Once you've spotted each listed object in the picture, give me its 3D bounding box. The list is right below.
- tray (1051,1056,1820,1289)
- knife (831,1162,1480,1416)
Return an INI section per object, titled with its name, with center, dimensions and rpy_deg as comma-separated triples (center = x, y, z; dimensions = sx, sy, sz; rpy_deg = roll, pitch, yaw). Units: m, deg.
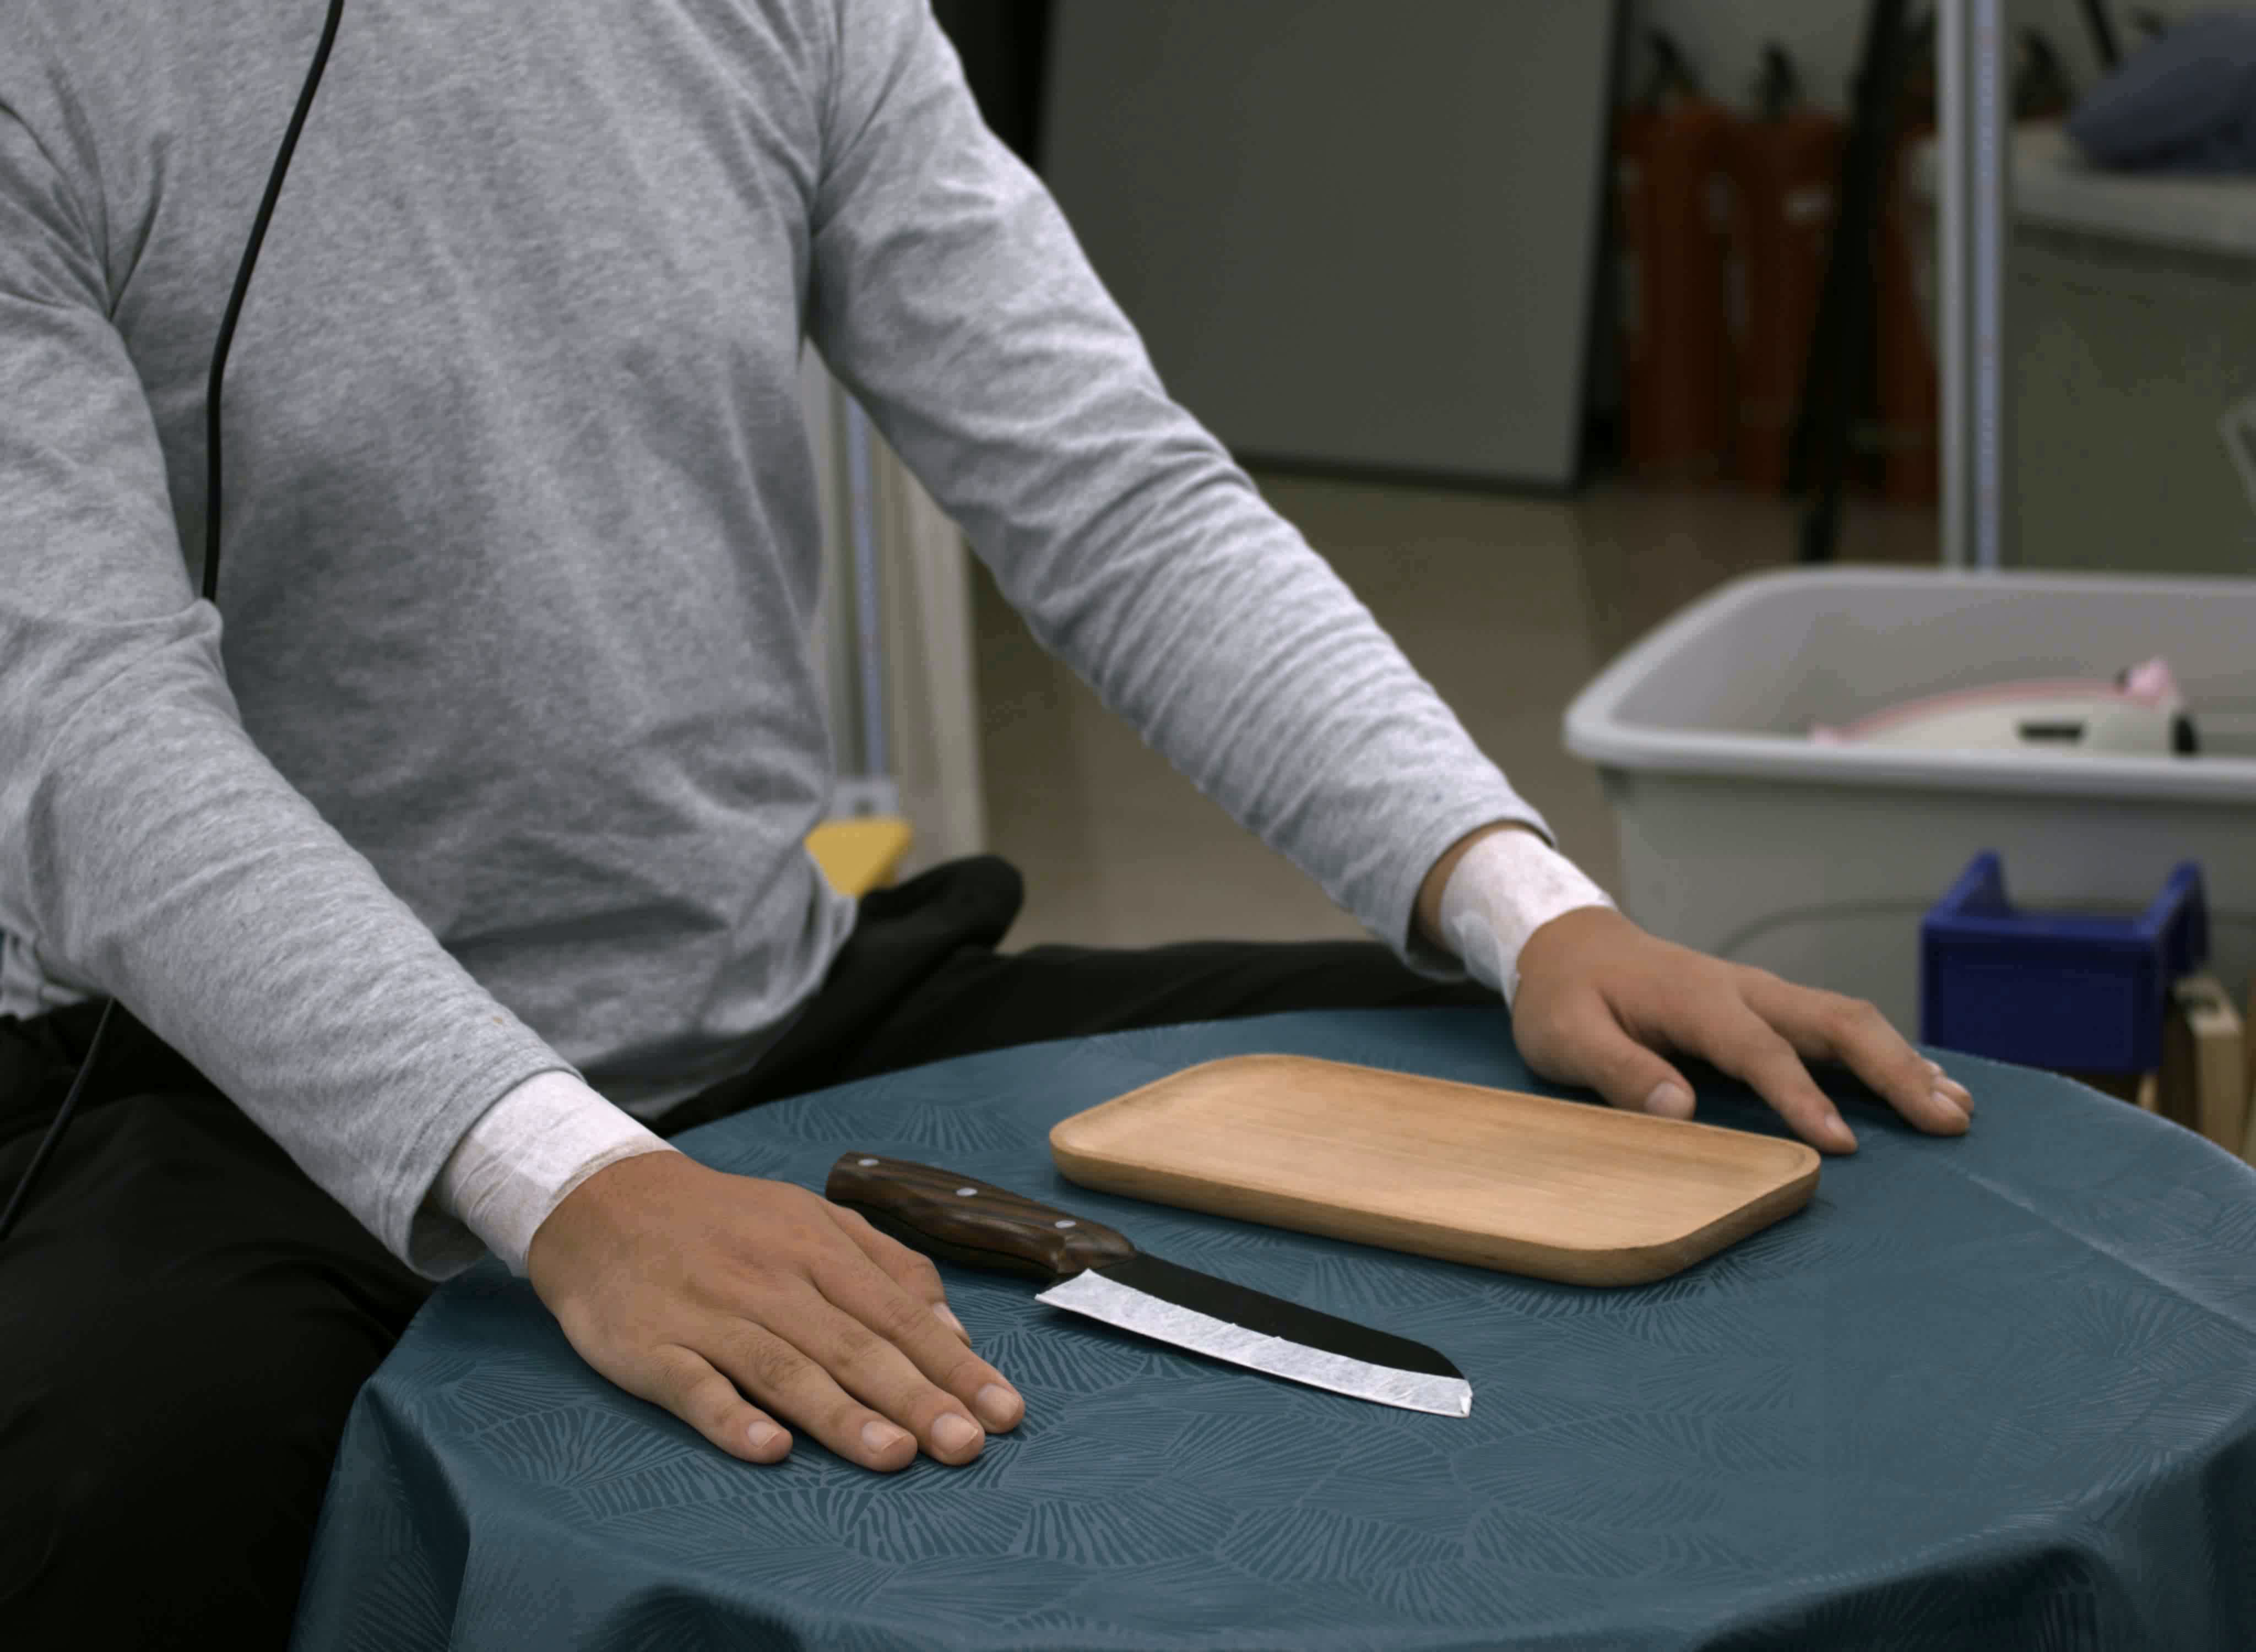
[tray]
center = 0.098, 0.111, 1.755
dimensions = 0.253, 0.023, 0.128
rpy_deg = 7, 15, 41
[knife]
center = 0.004, 0.143, 1.653
dimensions = 0.049, 0.020, 0.292
rpy_deg = -22, 24, -37
